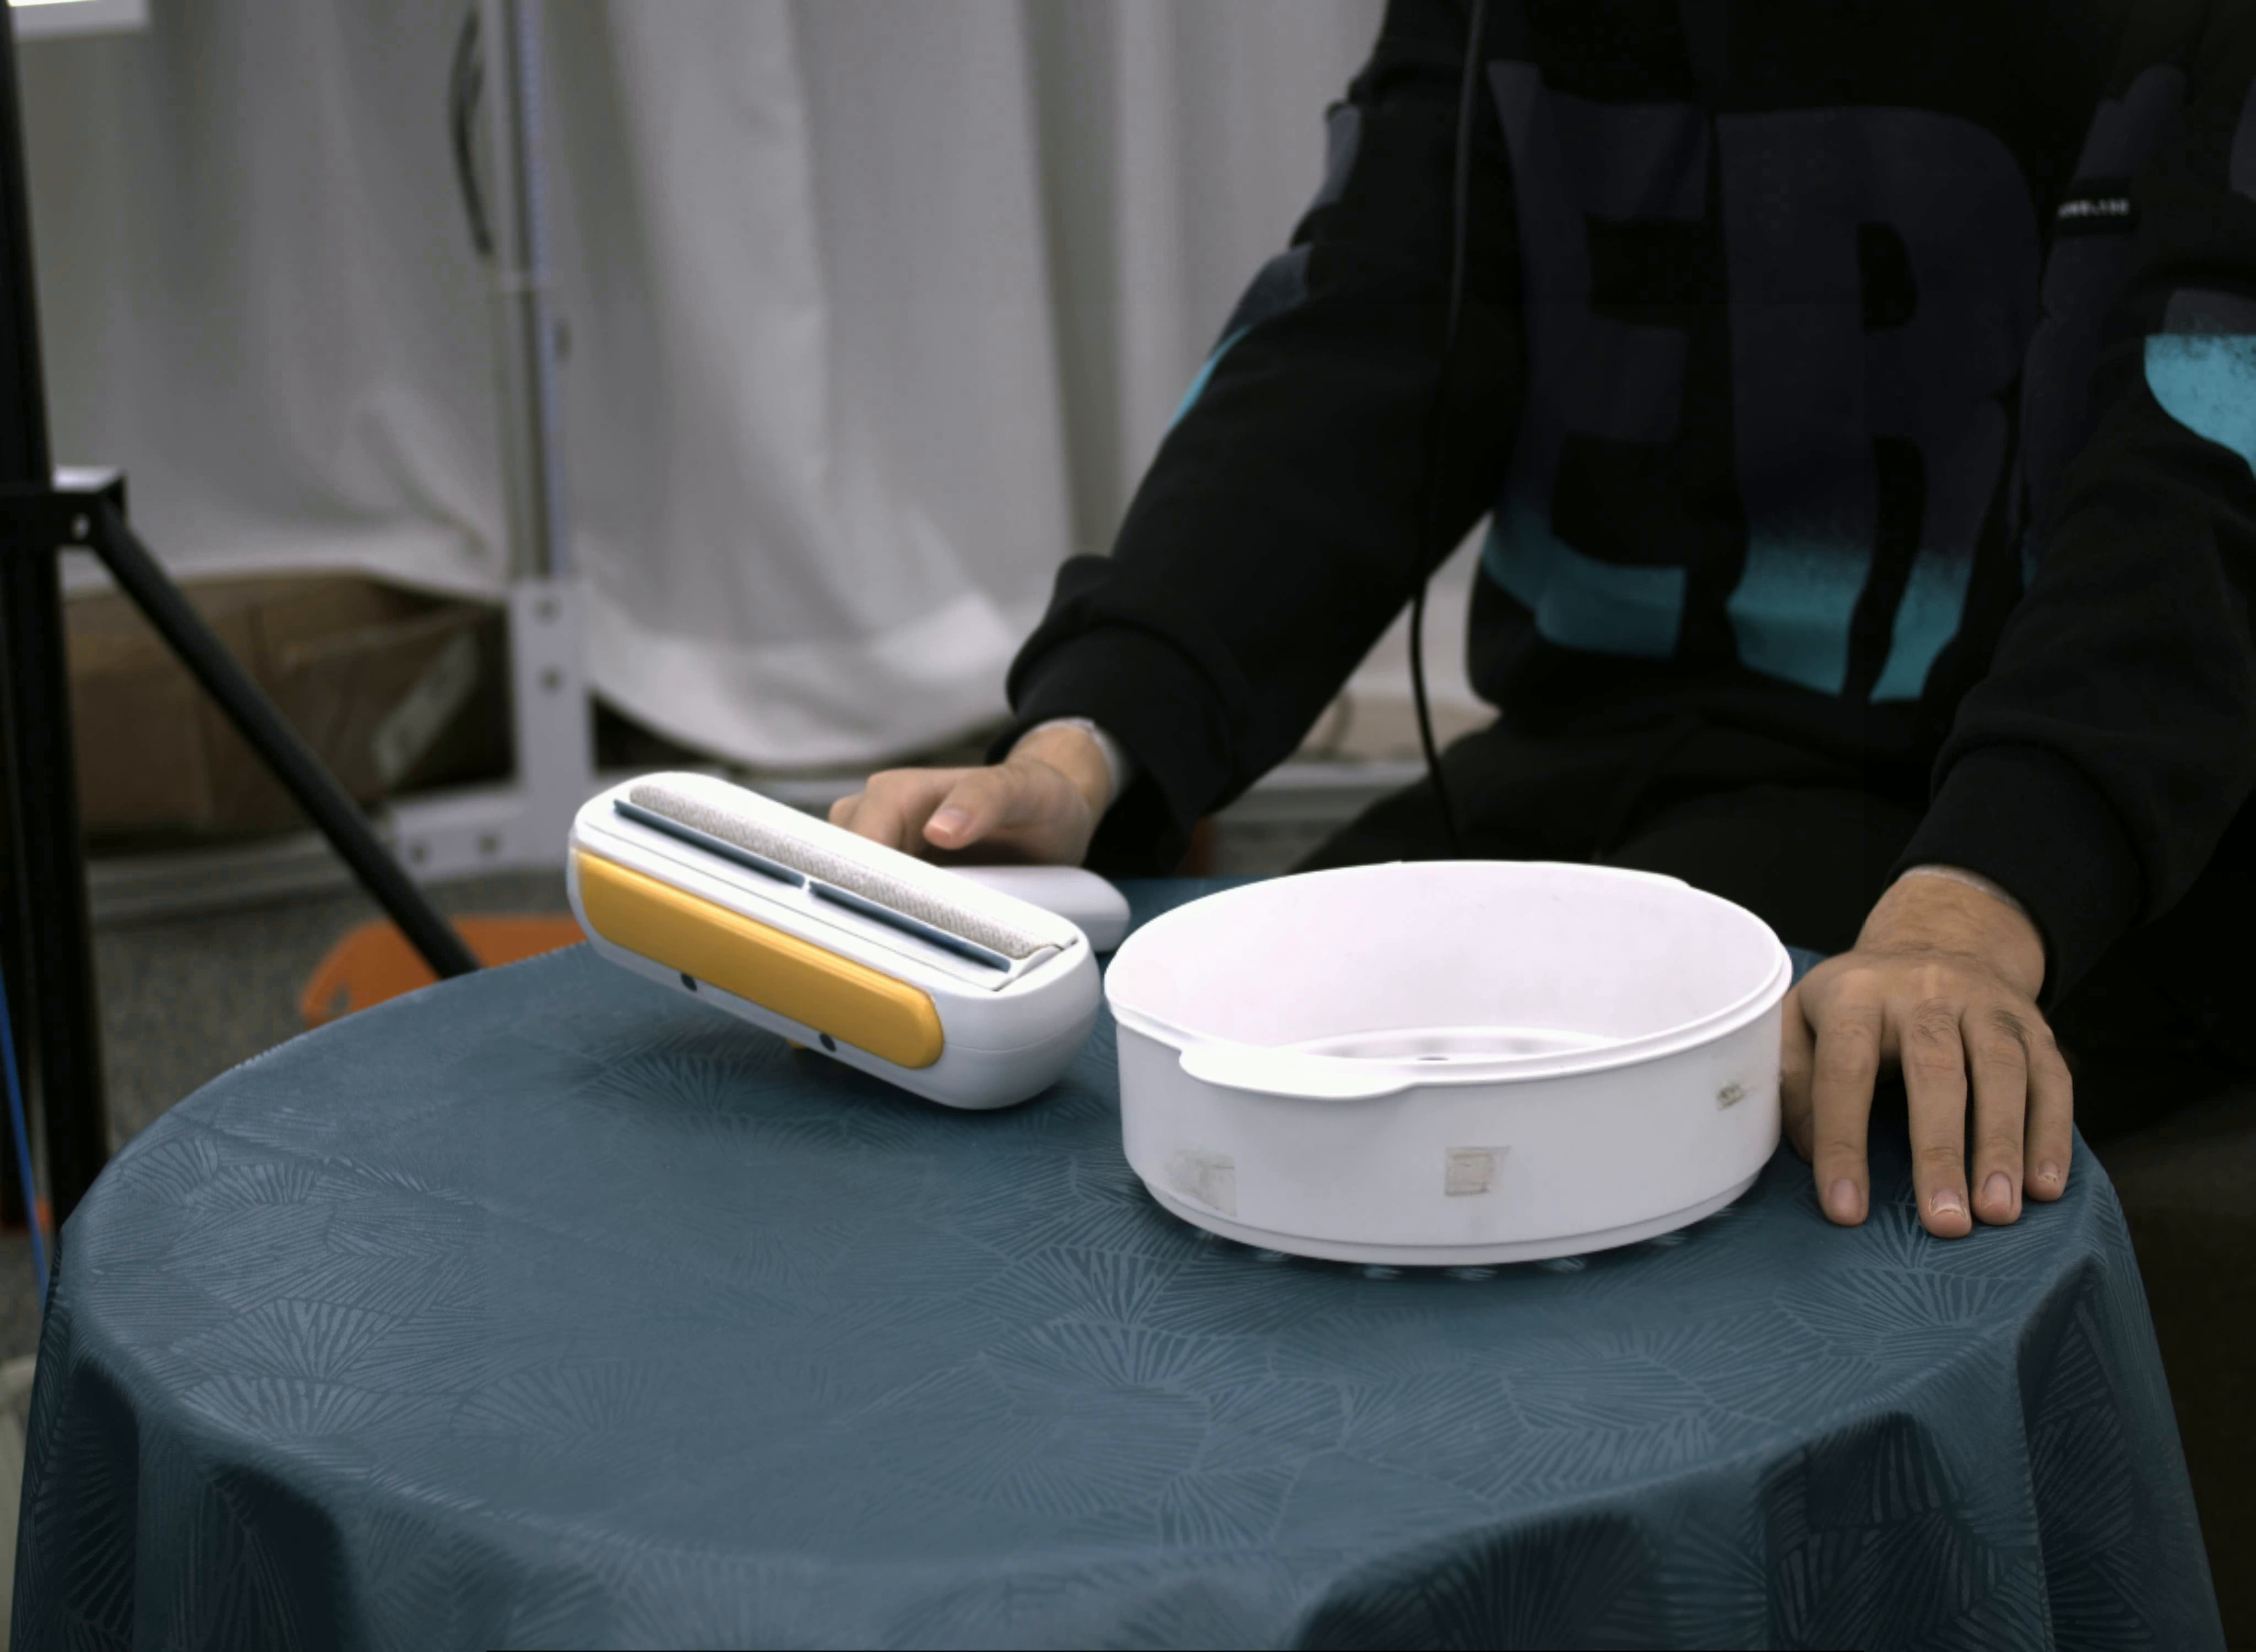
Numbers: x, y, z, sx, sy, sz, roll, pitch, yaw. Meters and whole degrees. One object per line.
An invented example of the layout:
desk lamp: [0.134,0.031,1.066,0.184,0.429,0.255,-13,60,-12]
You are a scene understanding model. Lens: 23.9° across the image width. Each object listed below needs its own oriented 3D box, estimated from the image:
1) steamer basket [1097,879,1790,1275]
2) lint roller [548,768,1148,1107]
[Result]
steamer basket: [0.091,0.073,1.548,0.205,0.069,0.226,8,17,30]
lint roller: [-0.064,0.028,1.727,0.197,0.074,0.188,18,23,38]
